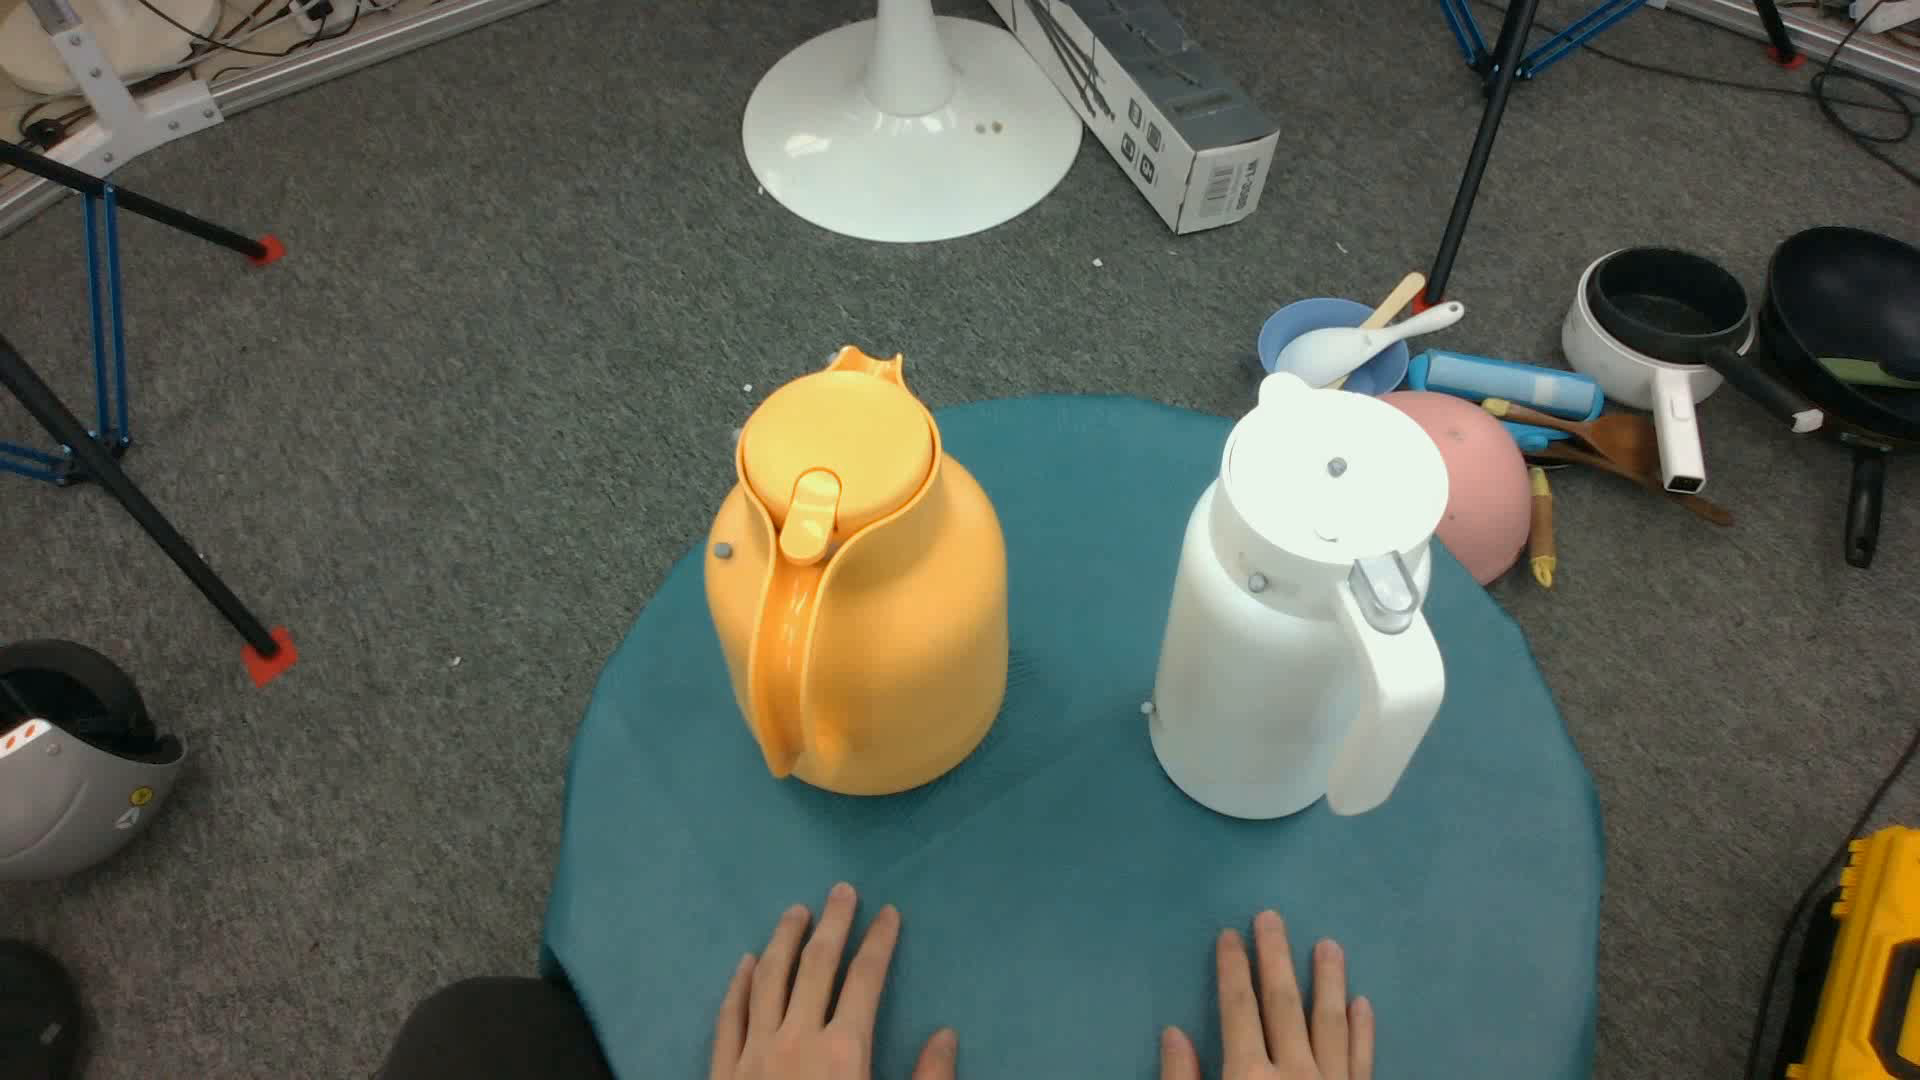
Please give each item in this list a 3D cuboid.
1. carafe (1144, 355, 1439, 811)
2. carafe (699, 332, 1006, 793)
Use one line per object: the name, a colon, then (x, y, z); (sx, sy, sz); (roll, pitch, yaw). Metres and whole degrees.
carafe: (0.172, 0.052, 0.713); (0.124, 0.267, 0.173); (-12, 57, -9)
carafe: (-0.063, 0.032, 0.730); (0.163, 0.259, 0.203); (10, 55, 11)
